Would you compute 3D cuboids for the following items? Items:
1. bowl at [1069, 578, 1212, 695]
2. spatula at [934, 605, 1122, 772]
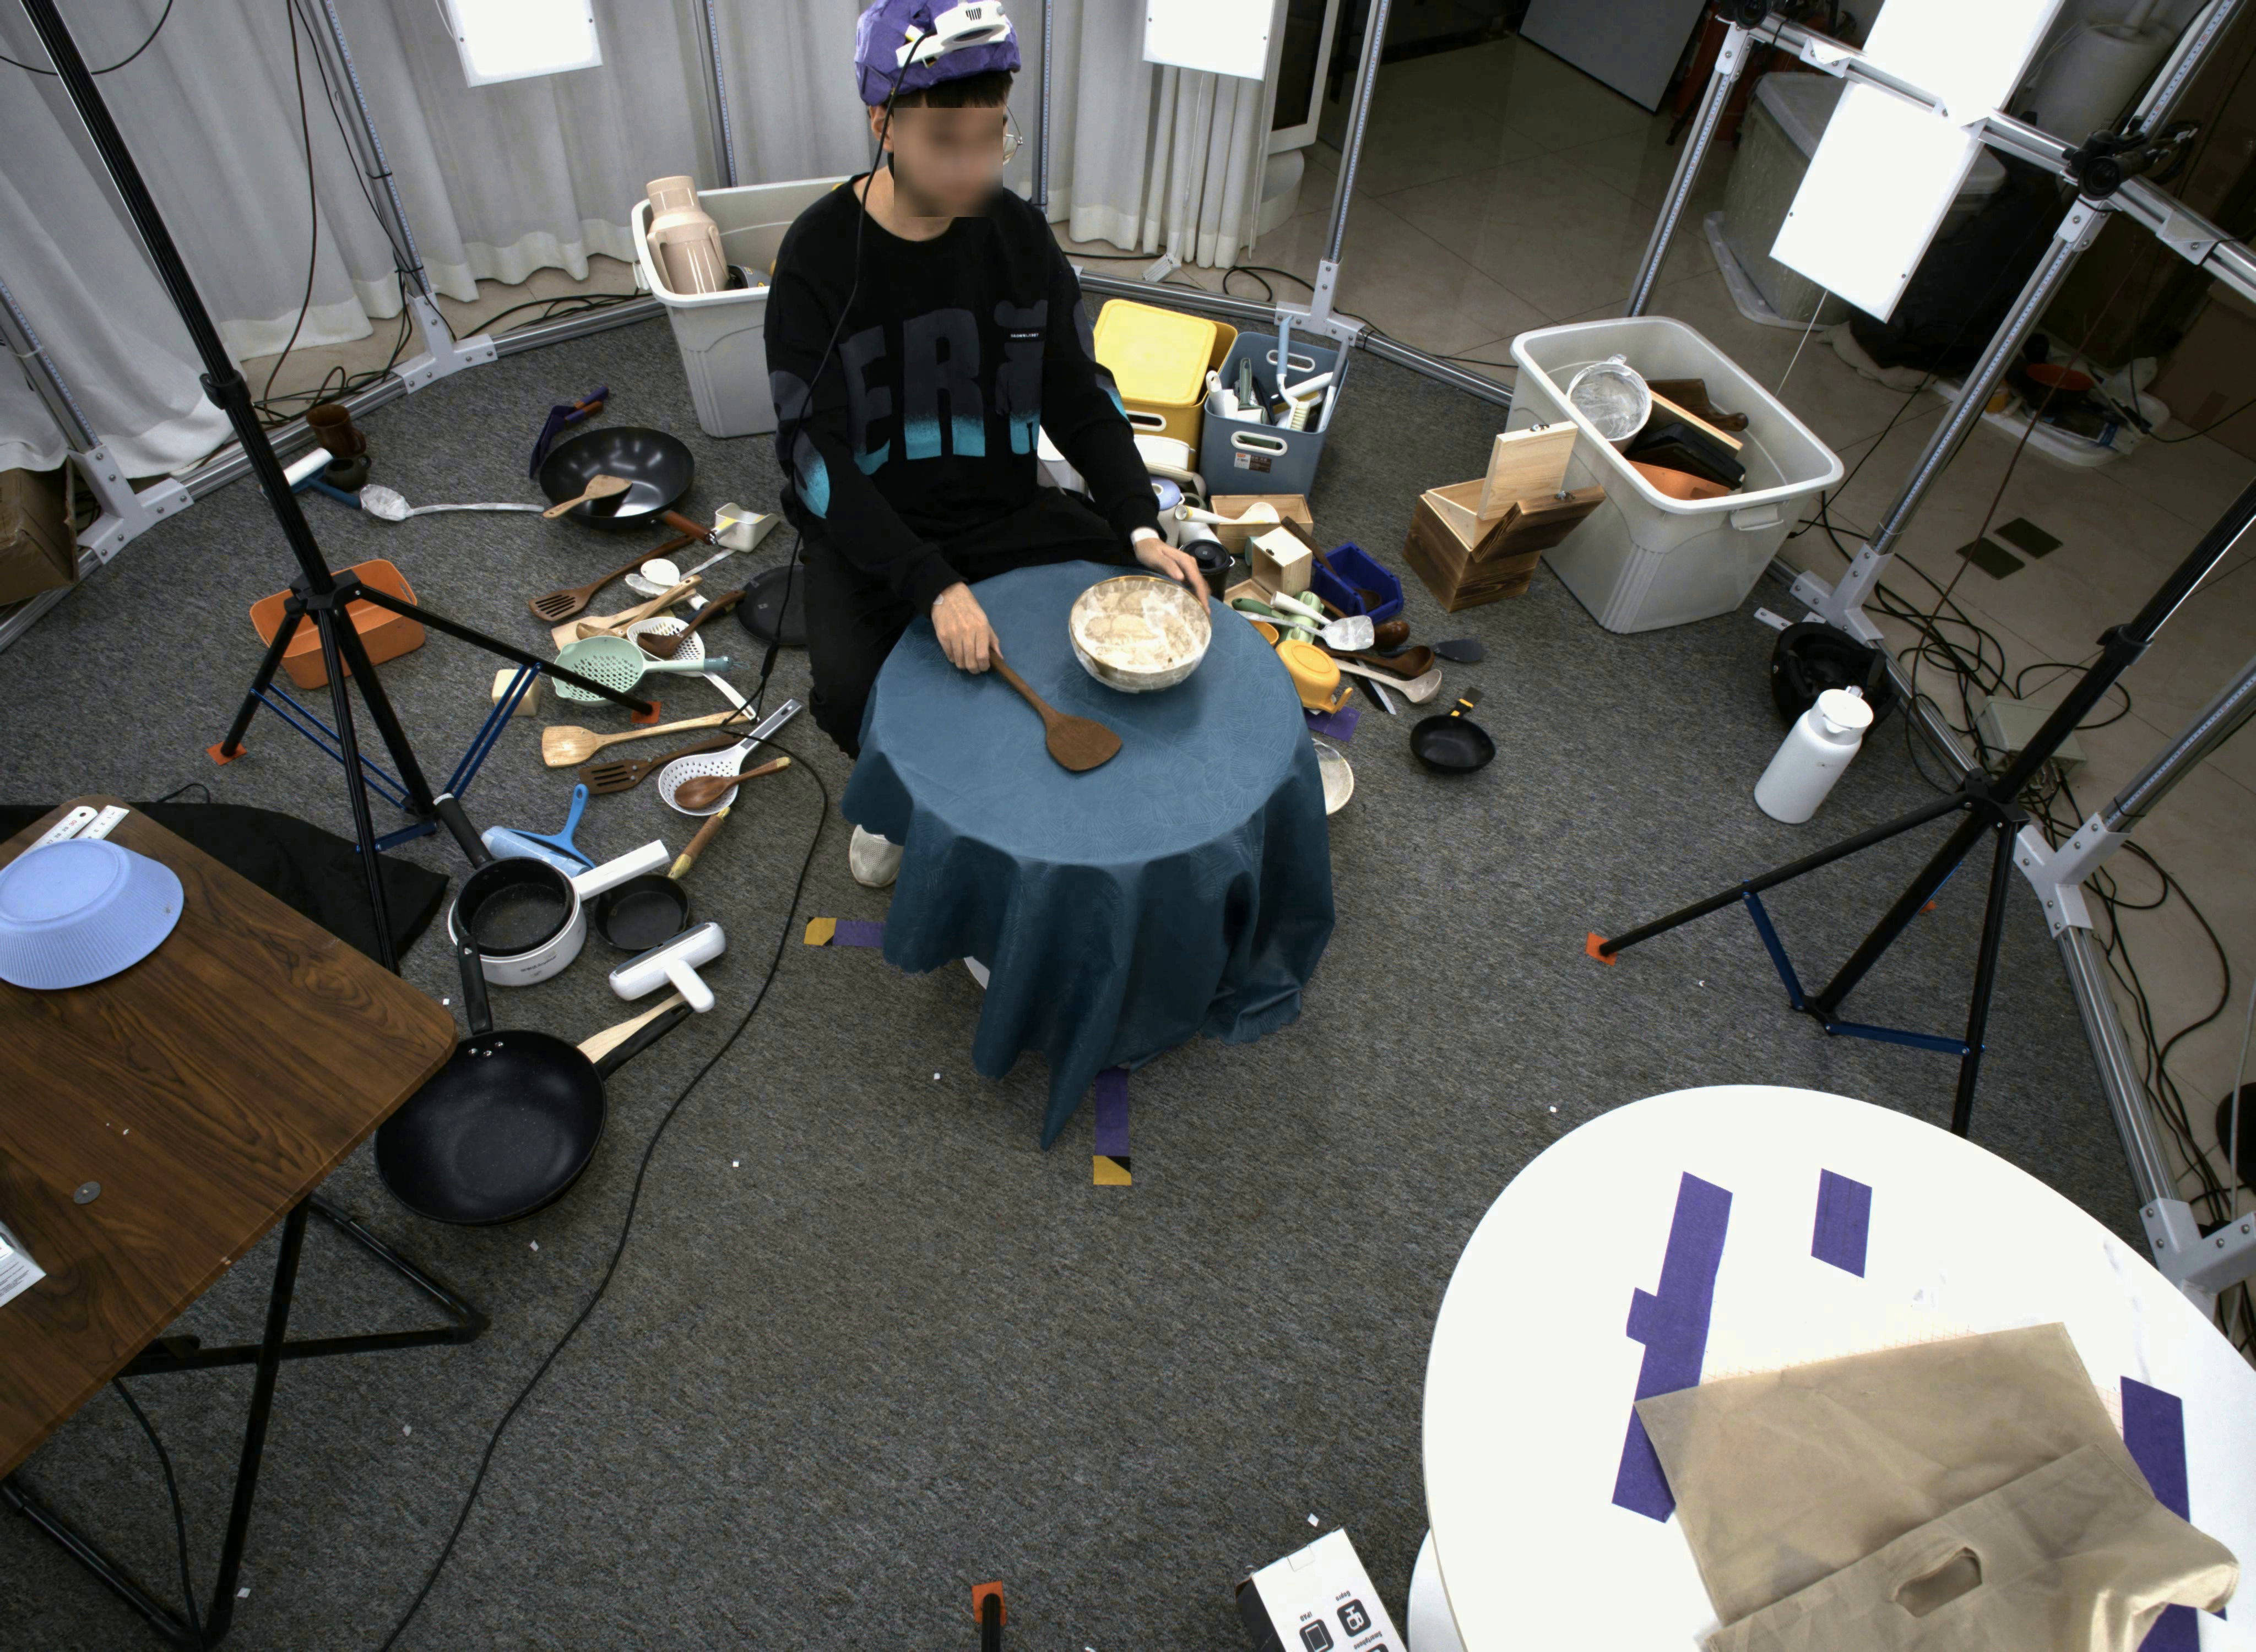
[{"bbox_3d":[0.017,-0.259,1.852,0.214,0.092,0.220,1,49,-1],"label":"bowl"},{"bbox_3d":[-0.159,-0.207,1.836,0.097,0.015,0.392,-31,61,-28],"label":"spatula"}]
